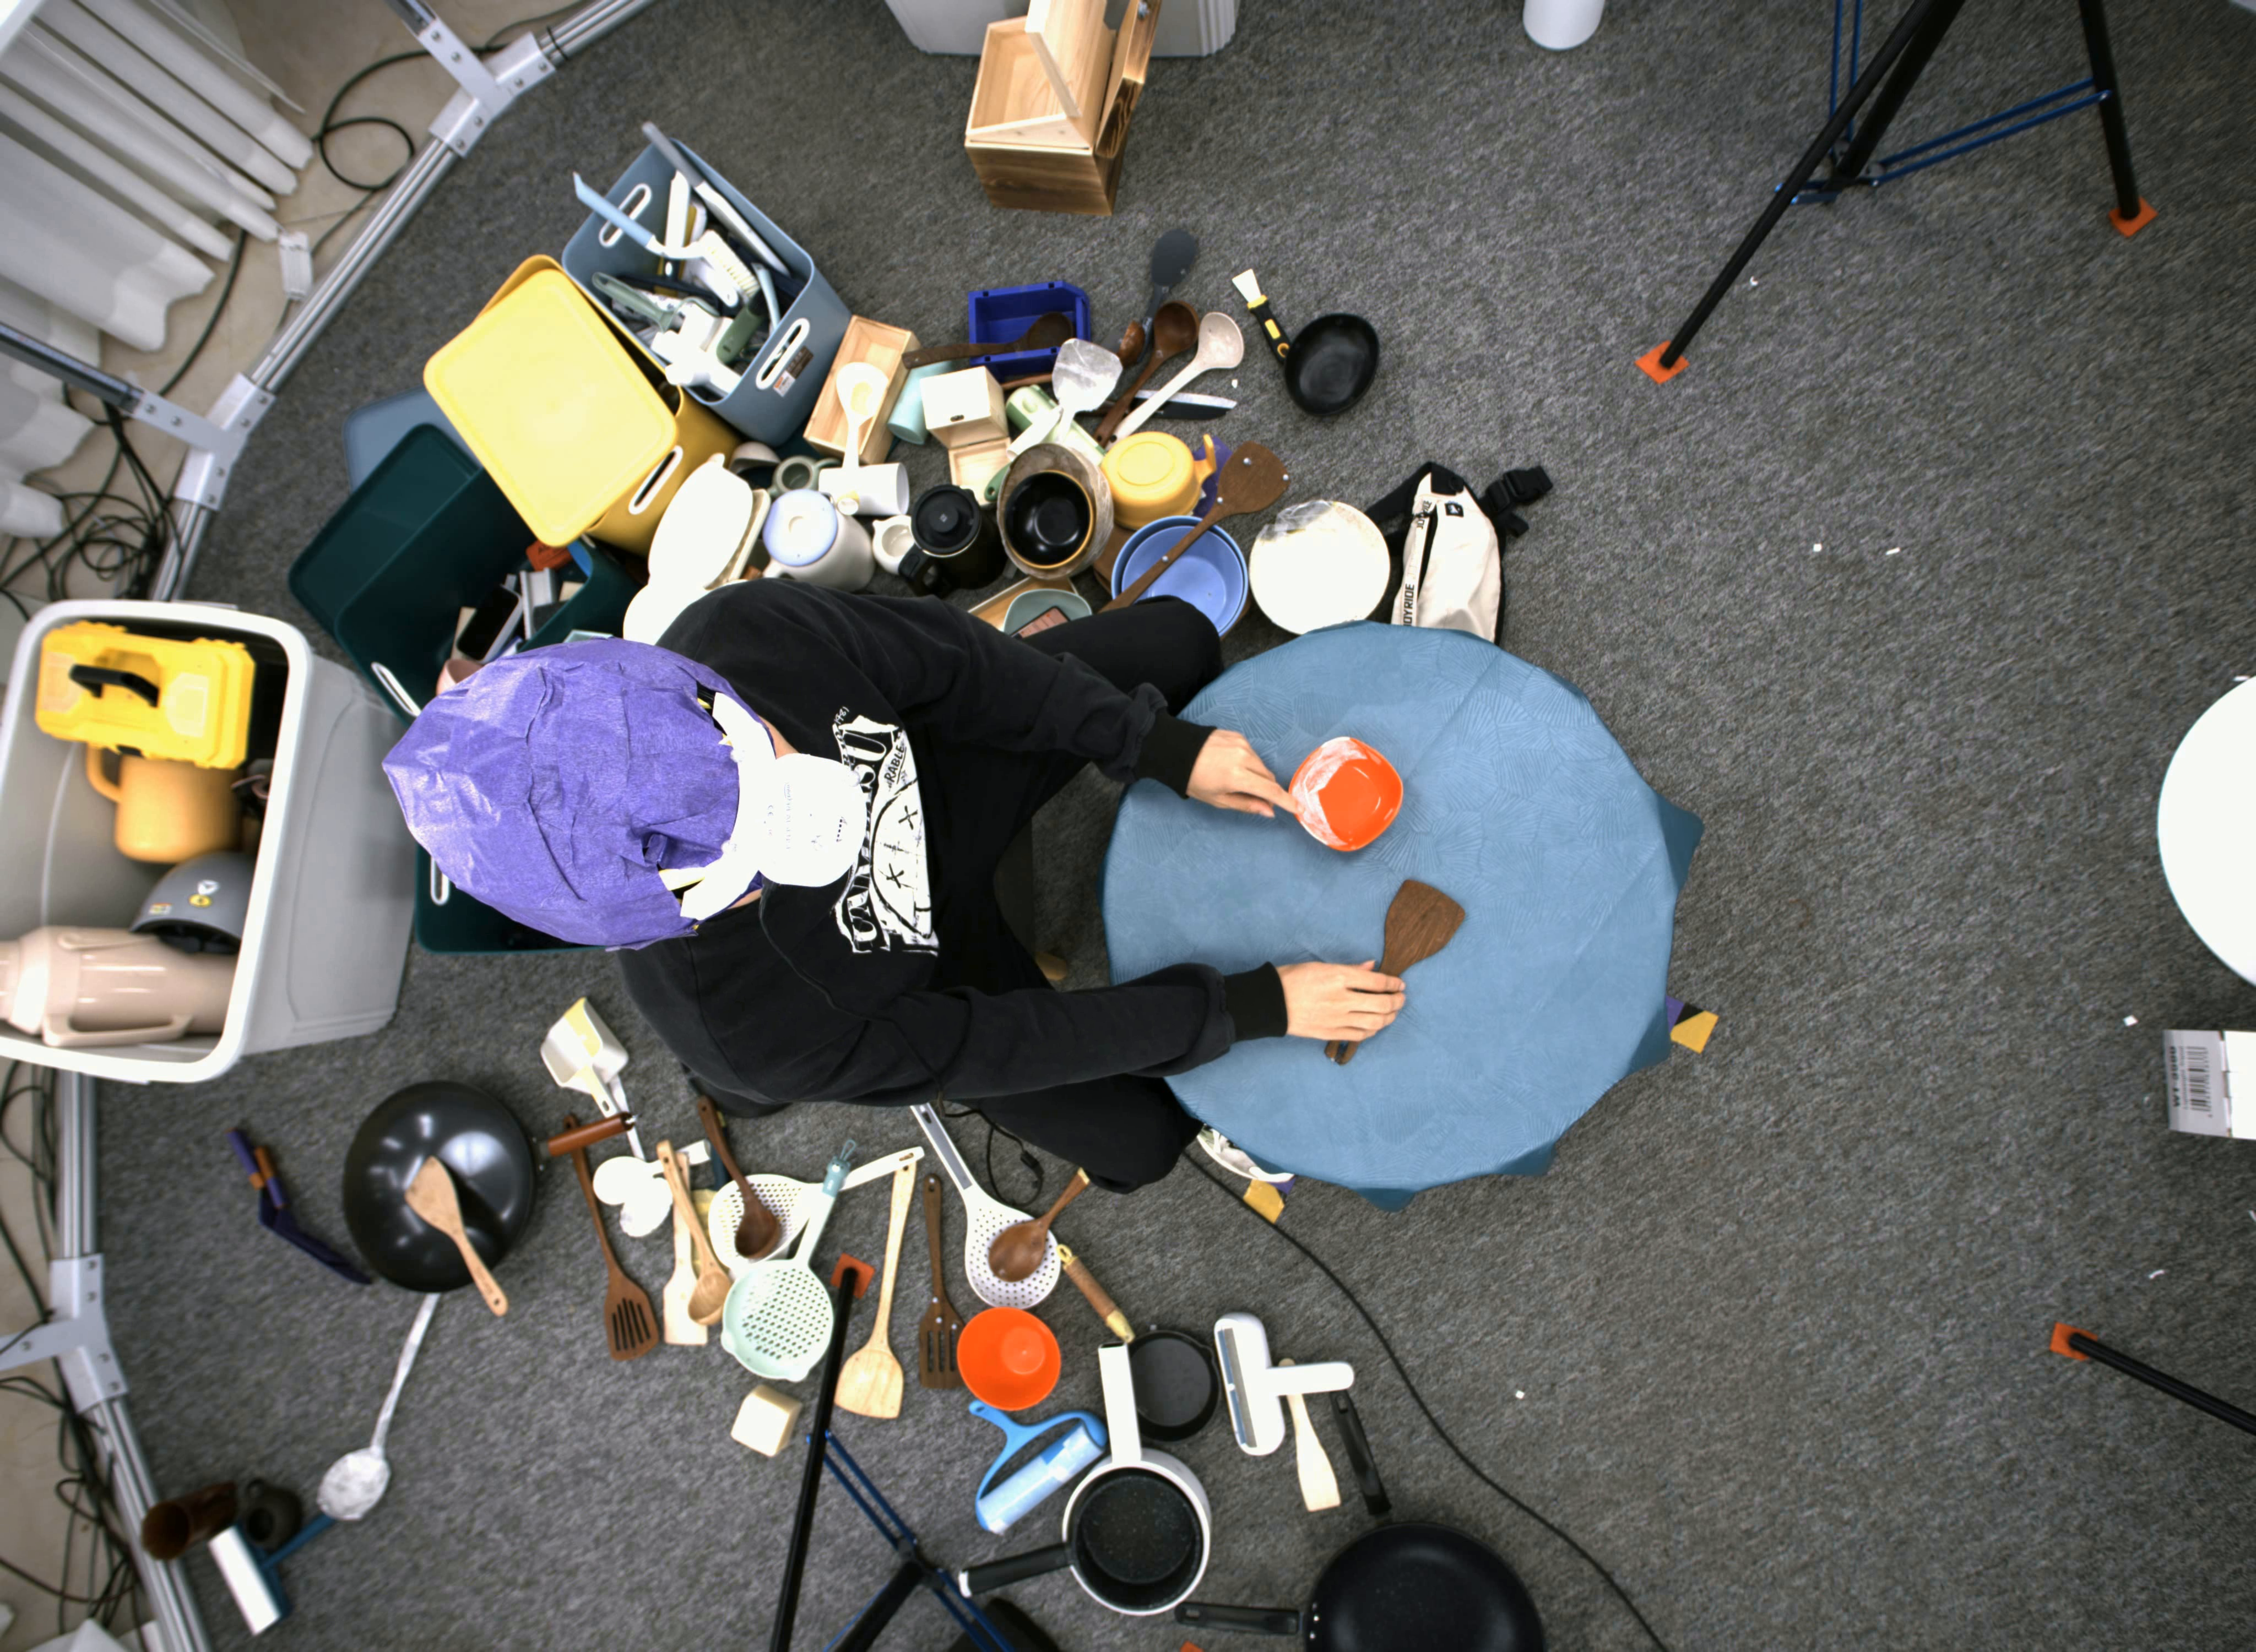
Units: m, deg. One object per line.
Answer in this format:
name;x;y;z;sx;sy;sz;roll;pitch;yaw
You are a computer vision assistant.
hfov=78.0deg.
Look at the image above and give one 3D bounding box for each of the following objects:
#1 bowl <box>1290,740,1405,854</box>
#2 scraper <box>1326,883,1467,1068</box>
bowl;0.231;-0.029;1.454;0.119;0.051;0.118;-1;87;9
scraper;0.273;0.160;1.454;0.075;0.011;0.211;33;93;12
